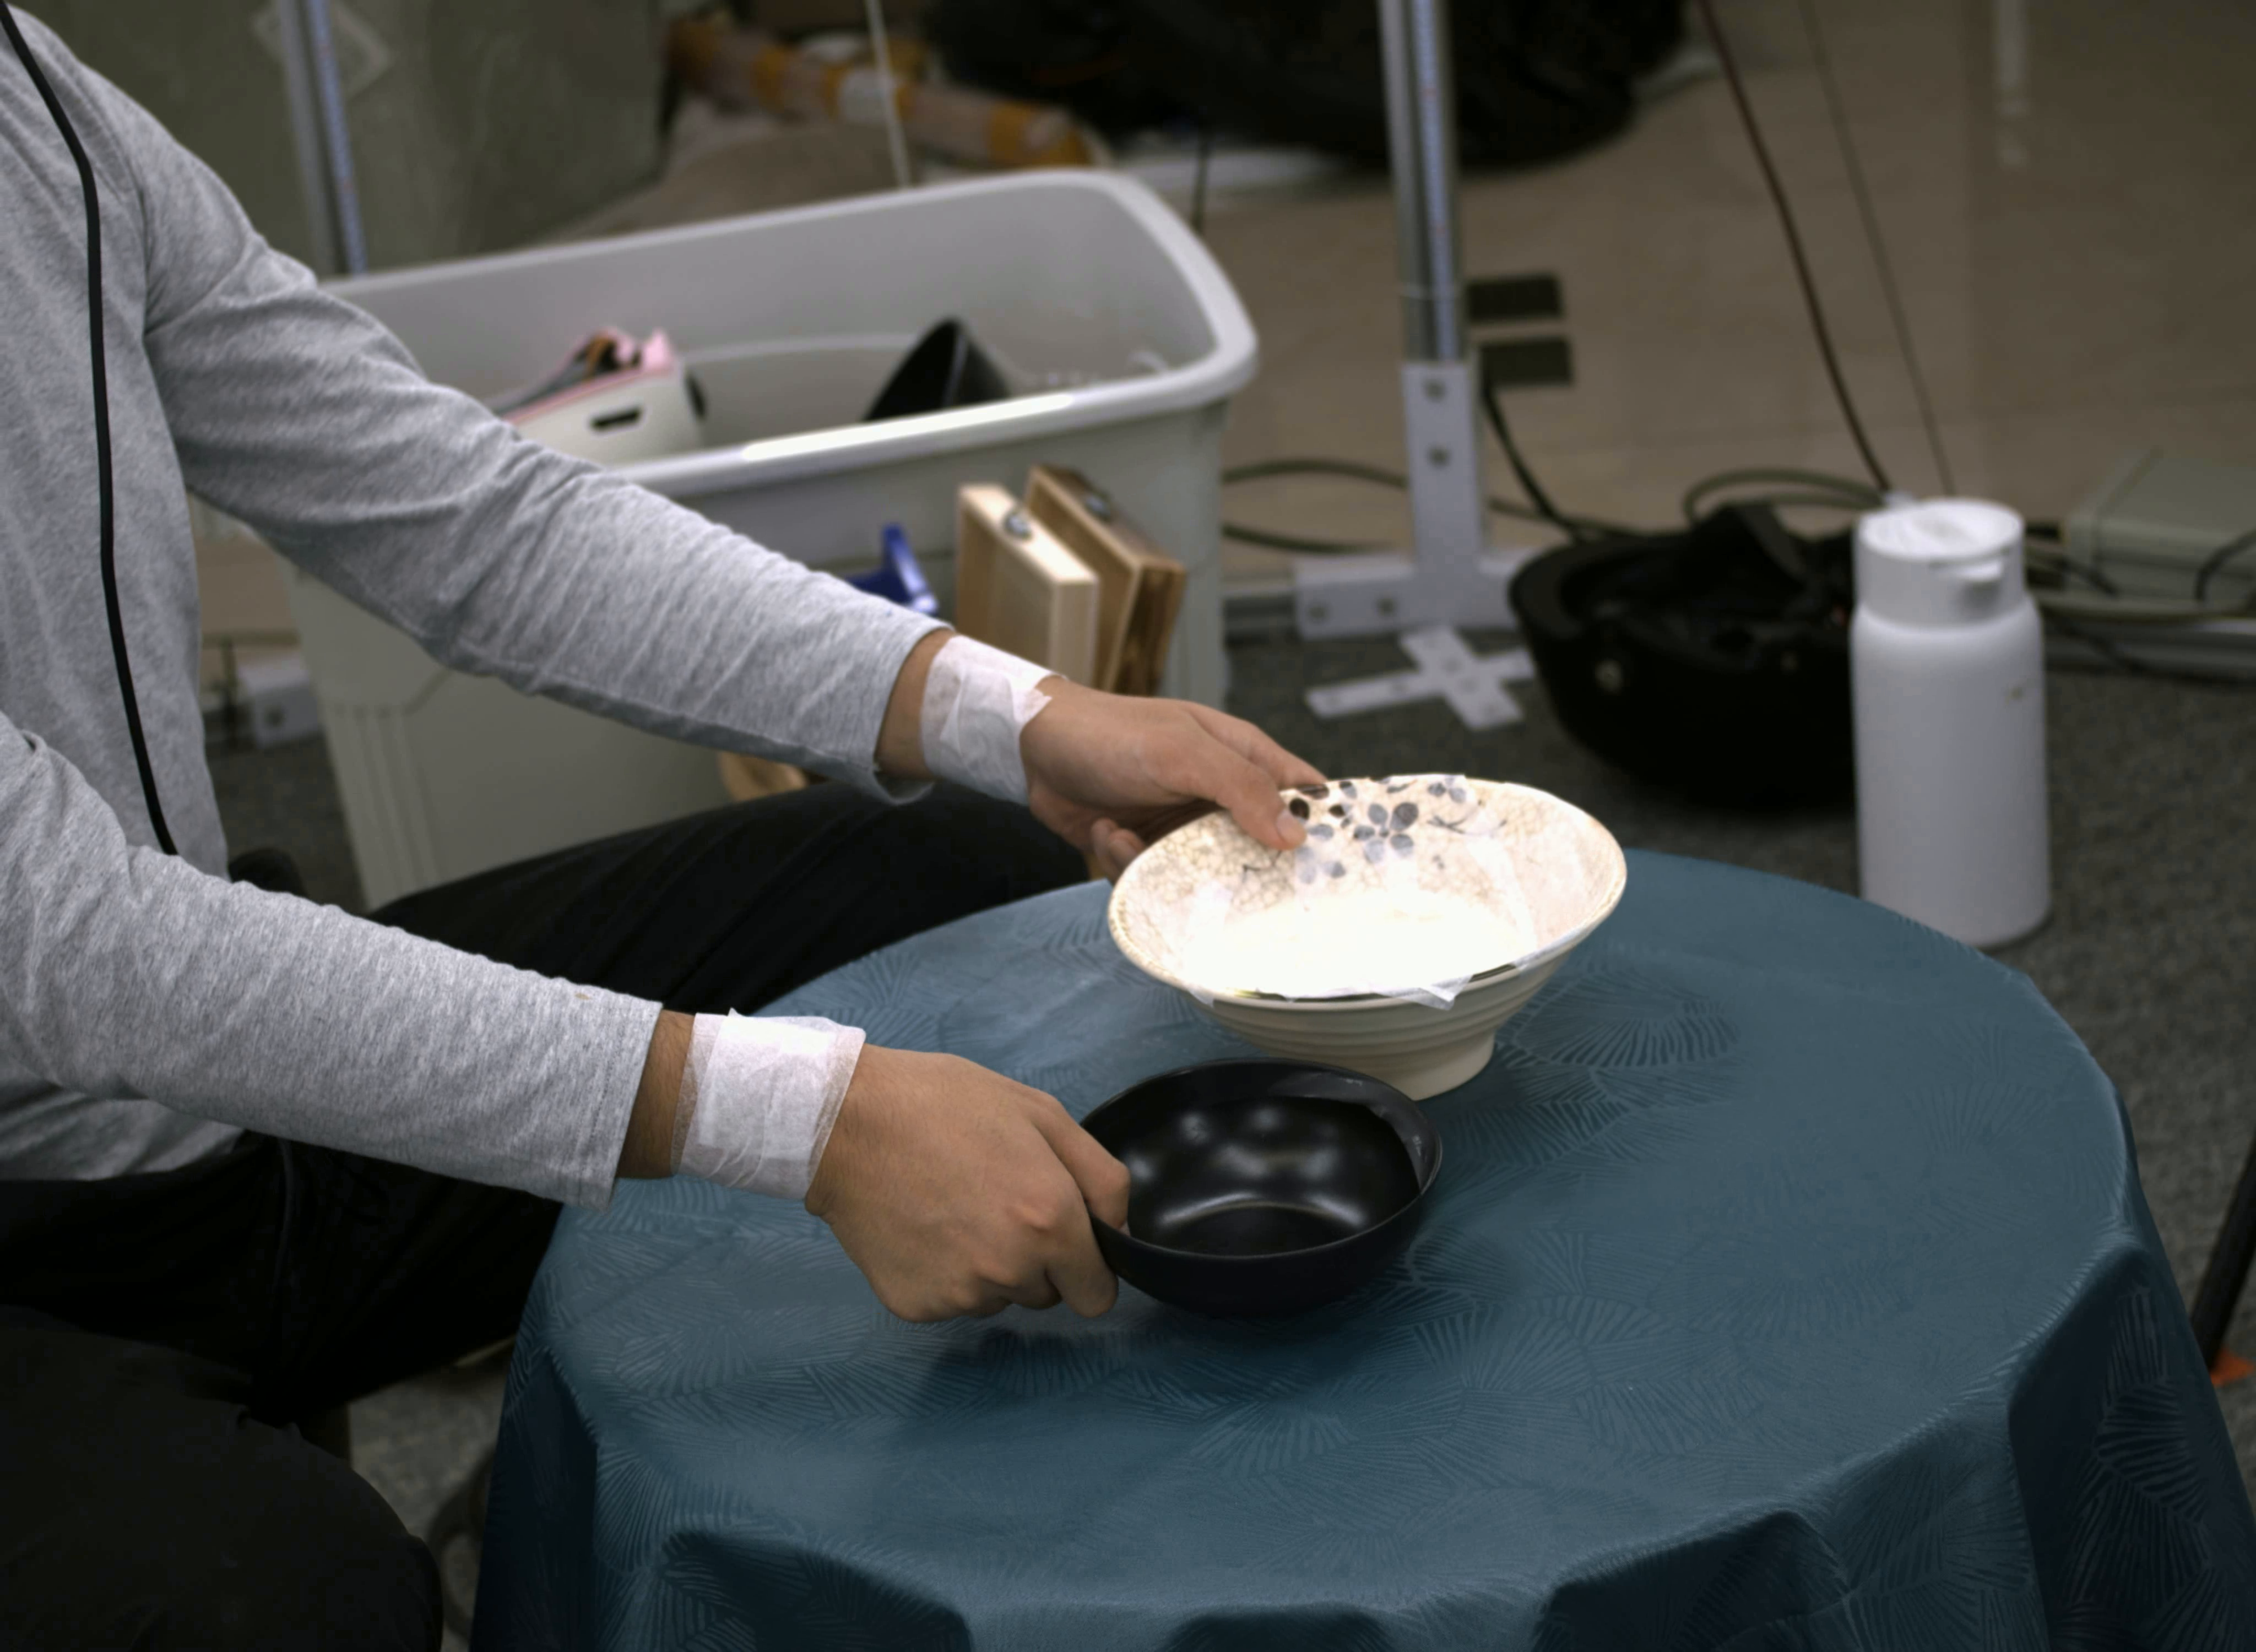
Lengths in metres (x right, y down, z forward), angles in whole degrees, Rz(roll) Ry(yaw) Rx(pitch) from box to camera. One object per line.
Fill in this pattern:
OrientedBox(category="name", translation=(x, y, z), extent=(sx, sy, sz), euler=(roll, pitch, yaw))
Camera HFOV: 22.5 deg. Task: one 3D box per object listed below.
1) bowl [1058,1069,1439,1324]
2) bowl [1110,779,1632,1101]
OrientedBox(category="bowl", translation=(0.046, 0.143, 2.068), extent=(0.140, 0.050, 0.138), euler=(-5, 26, 3))
OrientedBox(category="bowl", translation=(0.097, 0.056, 2.212), extent=(0.203, 0.079, 0.201), euler=(-6, 24, 3))
